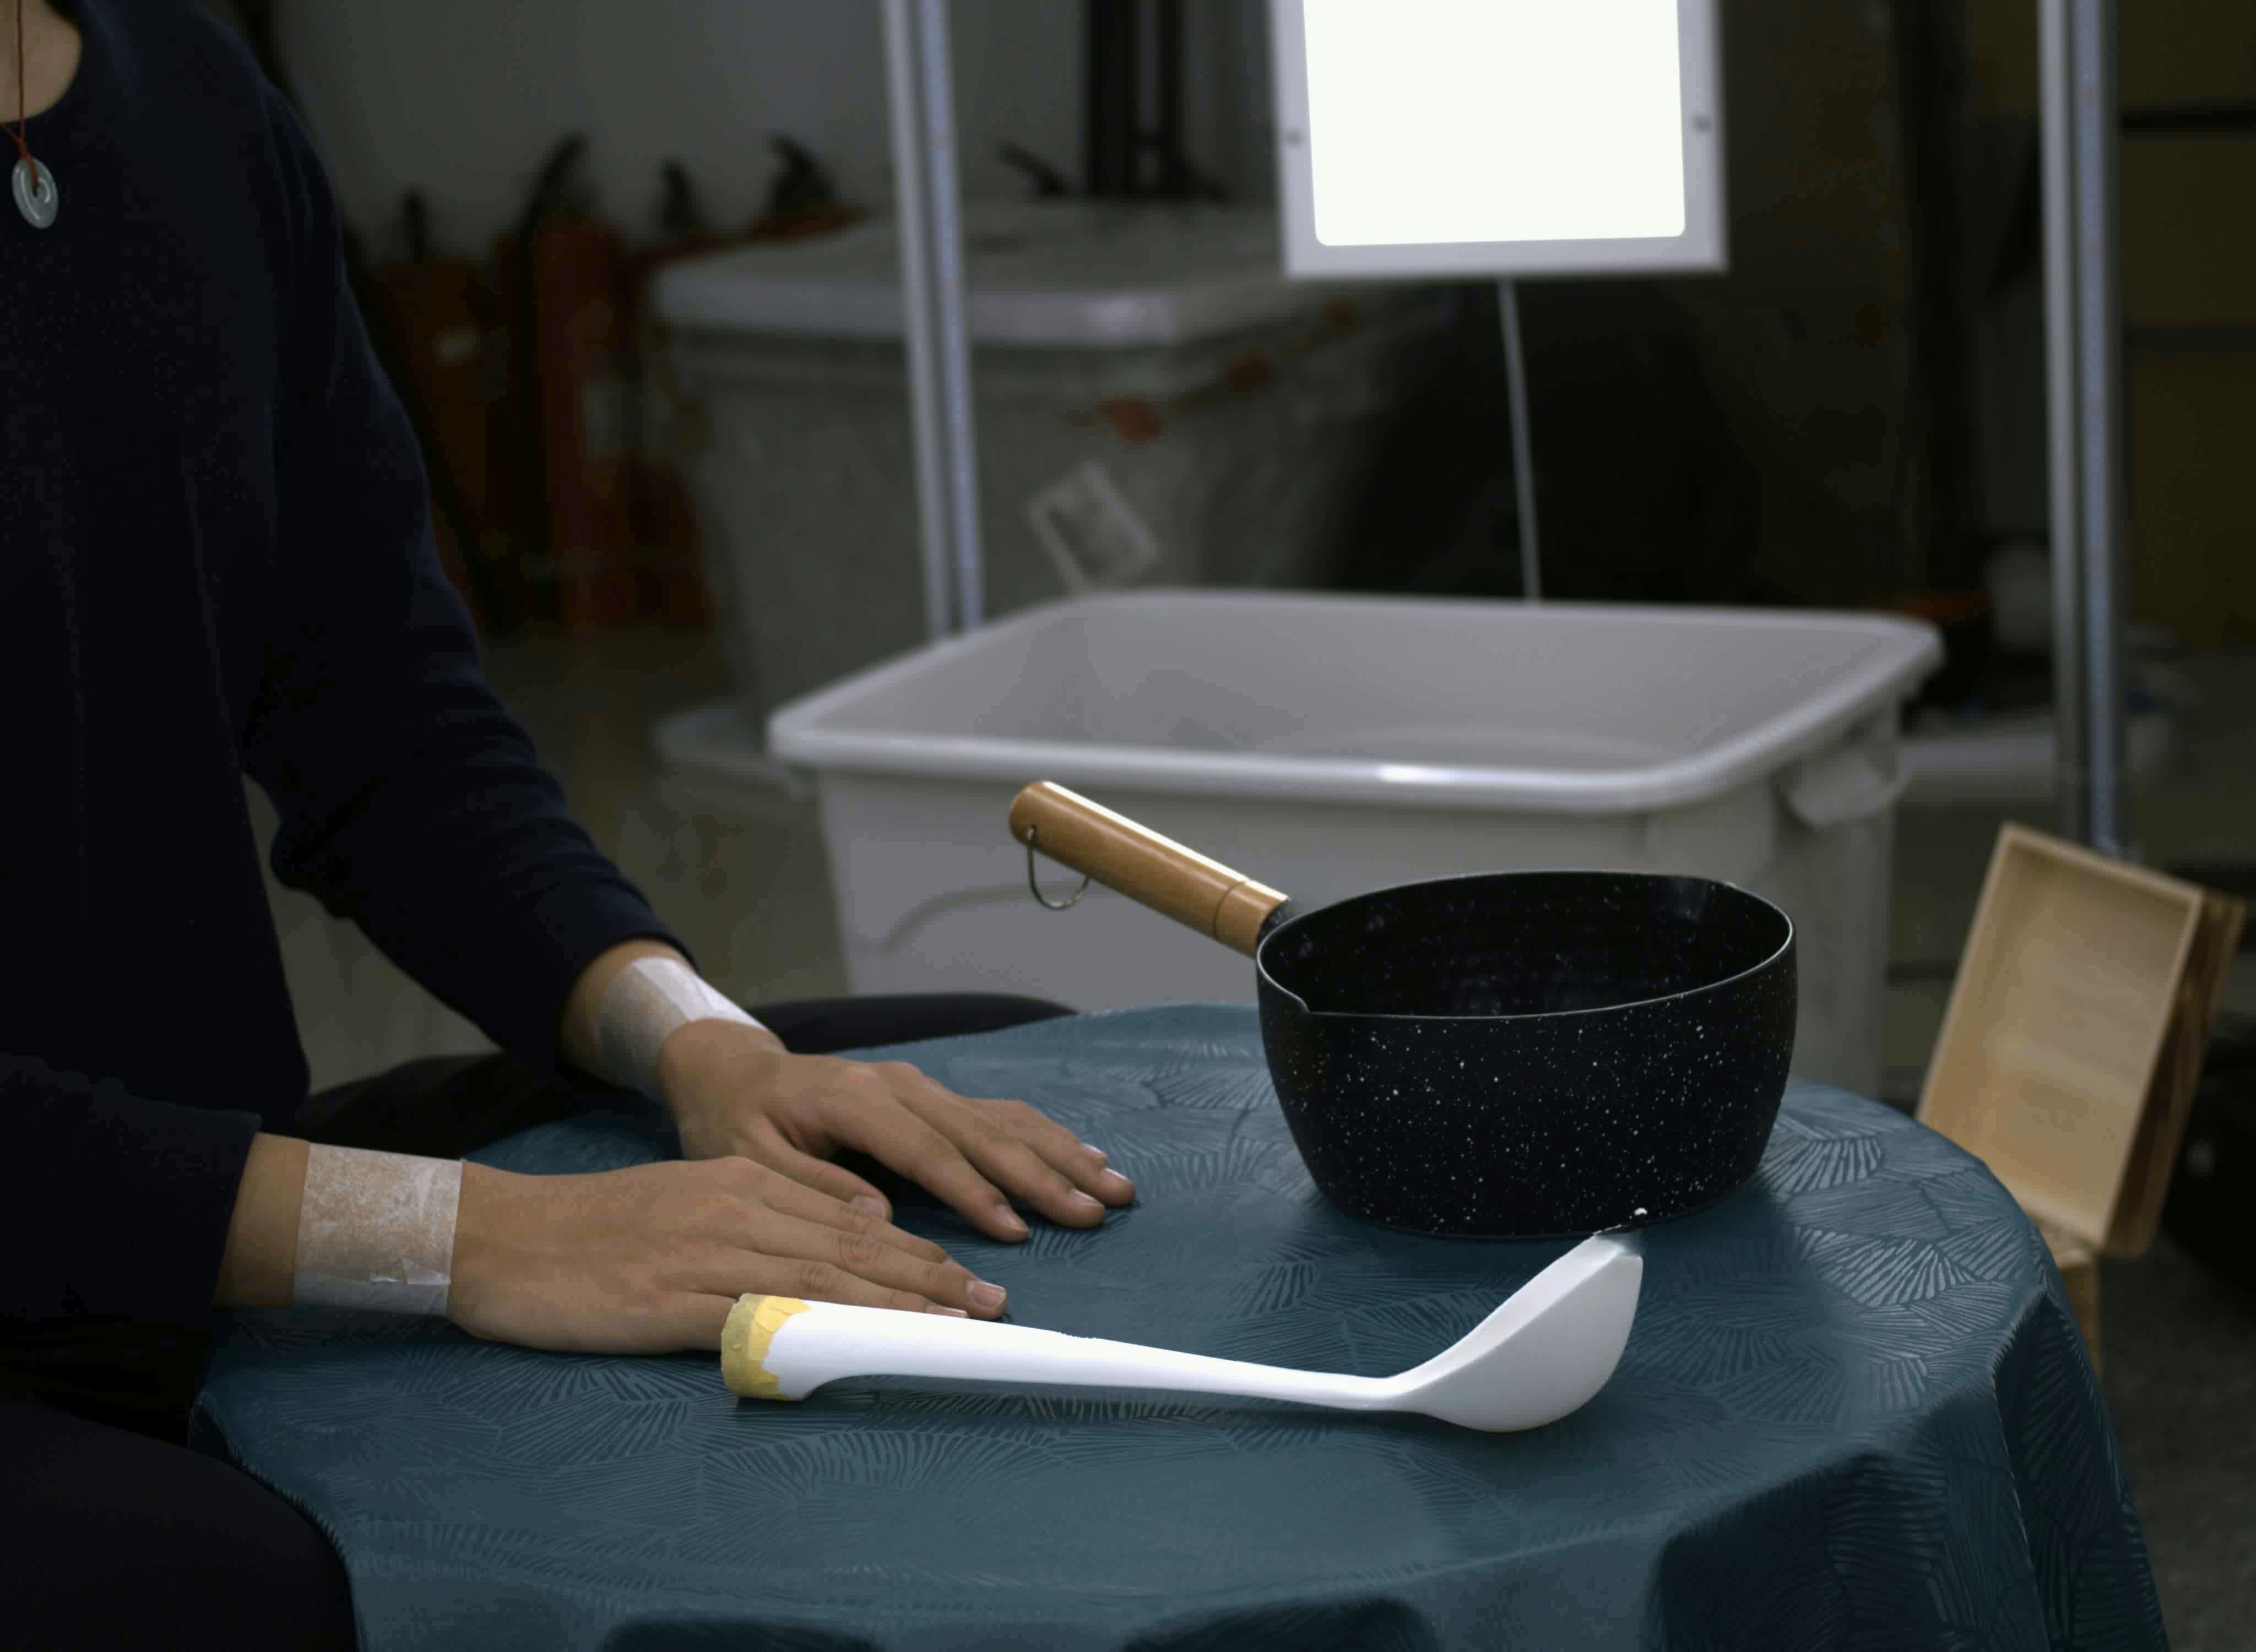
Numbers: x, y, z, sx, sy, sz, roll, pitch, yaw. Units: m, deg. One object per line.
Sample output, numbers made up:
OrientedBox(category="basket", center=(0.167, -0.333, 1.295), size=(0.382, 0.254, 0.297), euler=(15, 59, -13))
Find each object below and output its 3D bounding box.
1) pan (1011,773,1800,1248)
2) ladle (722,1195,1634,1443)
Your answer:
OrientedBox(category="pan", center=(0.081, 0.057, 1.922), size=(0.202, 0.108, 0.350), euler=(-19, 21, -40))
OrientedBox(category="ladle", center=(0.013, 0.150, 1.664), size=(0.297, 0.070, 0.088), euler=(-1, 21, 22))
